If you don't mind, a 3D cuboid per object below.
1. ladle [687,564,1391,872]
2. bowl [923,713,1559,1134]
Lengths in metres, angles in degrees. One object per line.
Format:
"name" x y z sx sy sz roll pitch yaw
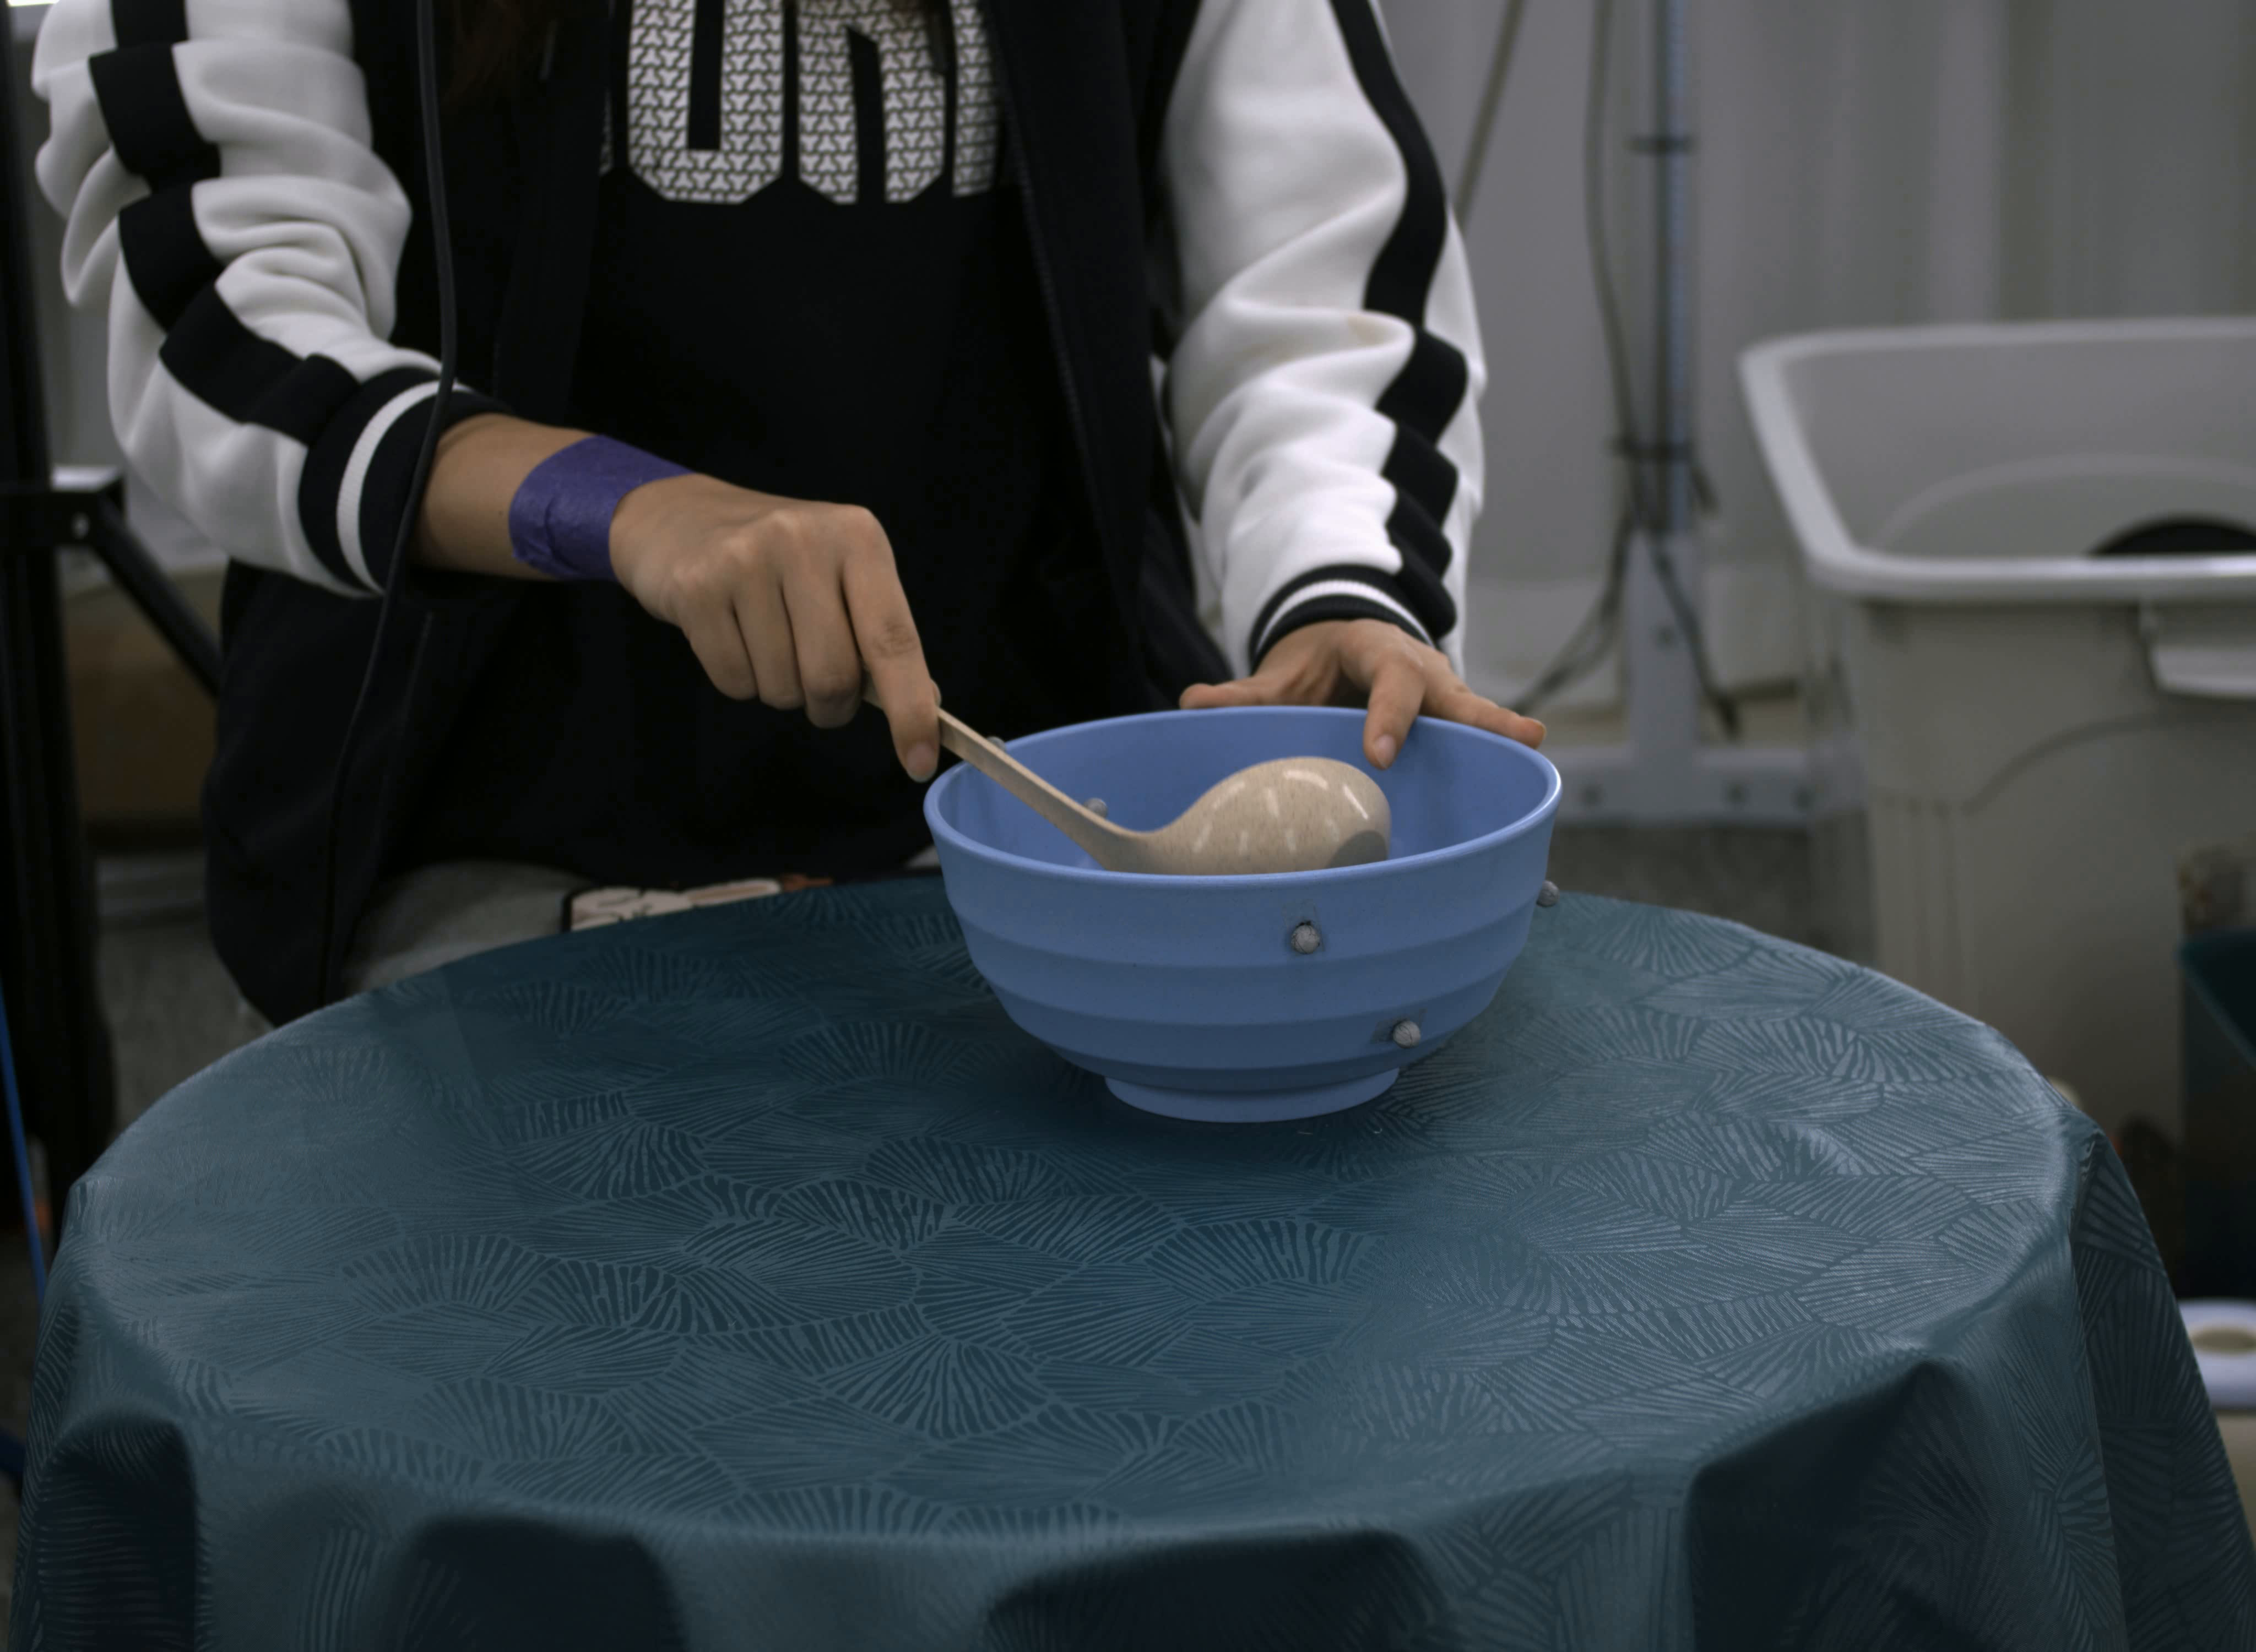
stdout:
"ladle" -0.026 -0.039 1.669 0.072 0.071 0.260 -37 53 -27
"bowl" 0.037 0.036 1.644 0.195 0.095 0.197 -4 16 0
